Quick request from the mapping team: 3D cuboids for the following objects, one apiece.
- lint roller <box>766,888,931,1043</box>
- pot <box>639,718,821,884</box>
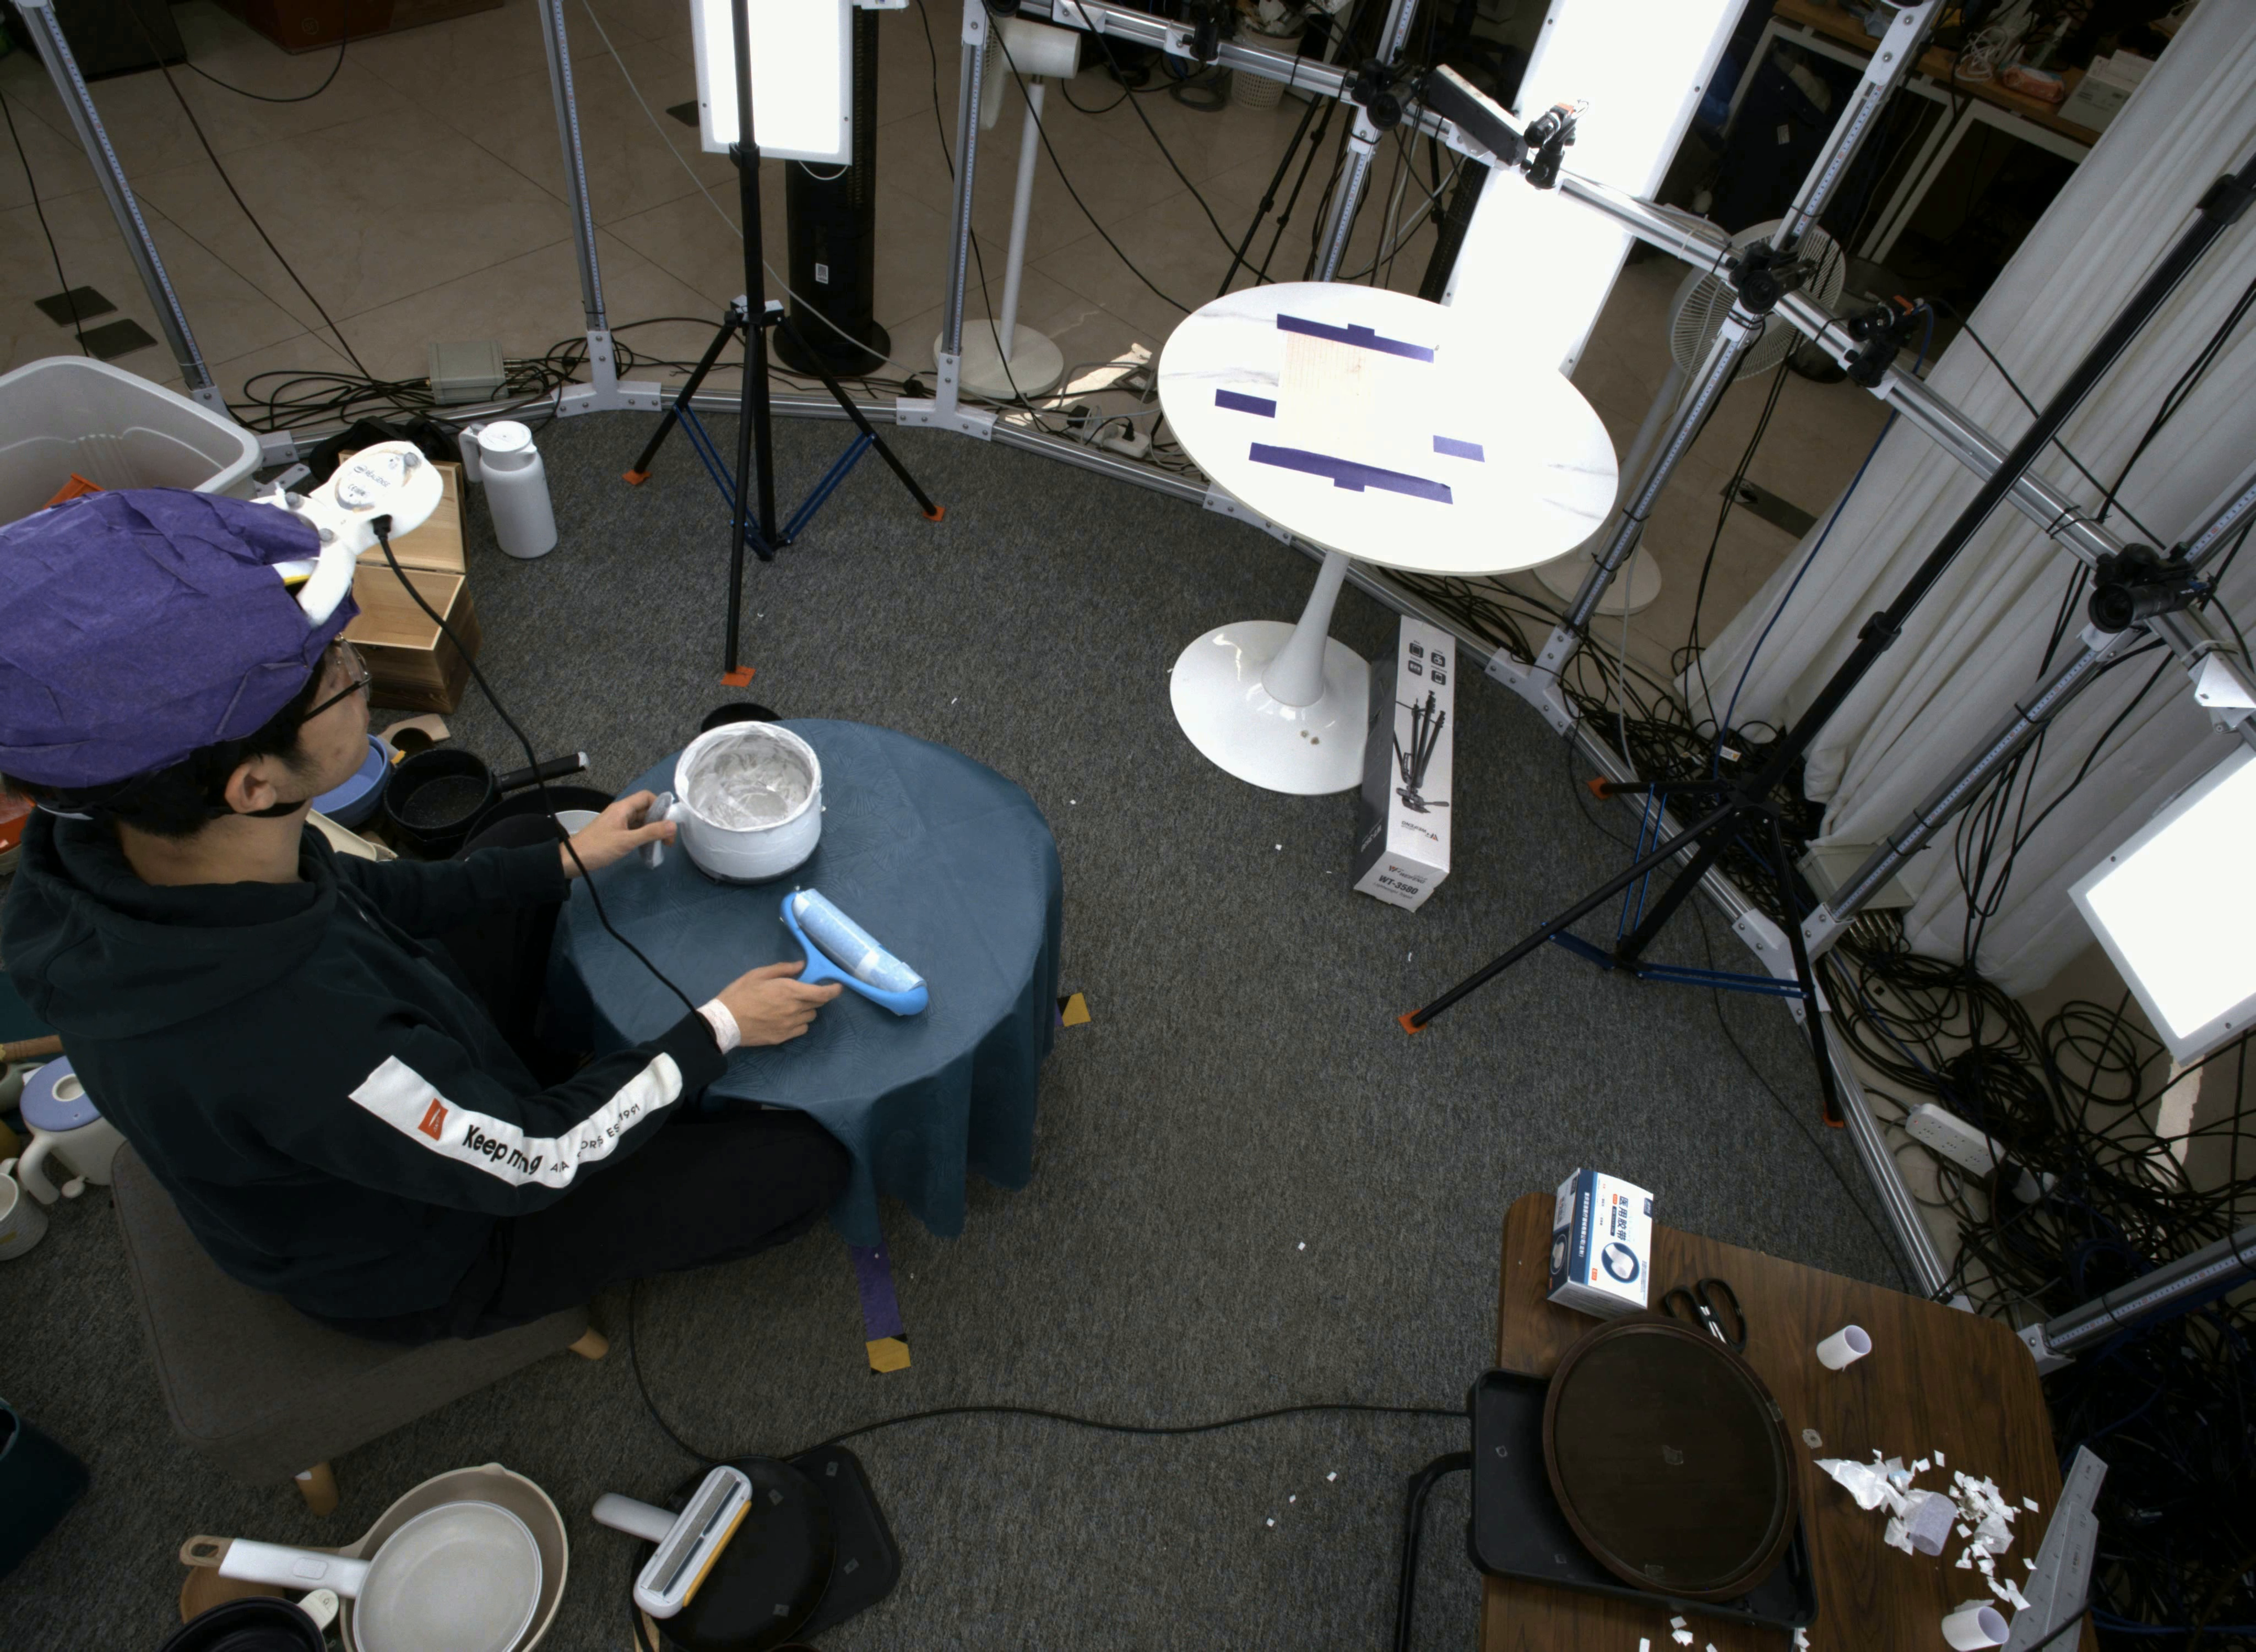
[{"bbox_3d":[-0.368,0.184,1.572,0.225,0.069,0.180,35,52,10],"label":"lint roller"},{"bbox_3d":[-0.504,-0.020,1.632,0.235,0.139,0.174,-18,60,-27],"label":"pot"}]
